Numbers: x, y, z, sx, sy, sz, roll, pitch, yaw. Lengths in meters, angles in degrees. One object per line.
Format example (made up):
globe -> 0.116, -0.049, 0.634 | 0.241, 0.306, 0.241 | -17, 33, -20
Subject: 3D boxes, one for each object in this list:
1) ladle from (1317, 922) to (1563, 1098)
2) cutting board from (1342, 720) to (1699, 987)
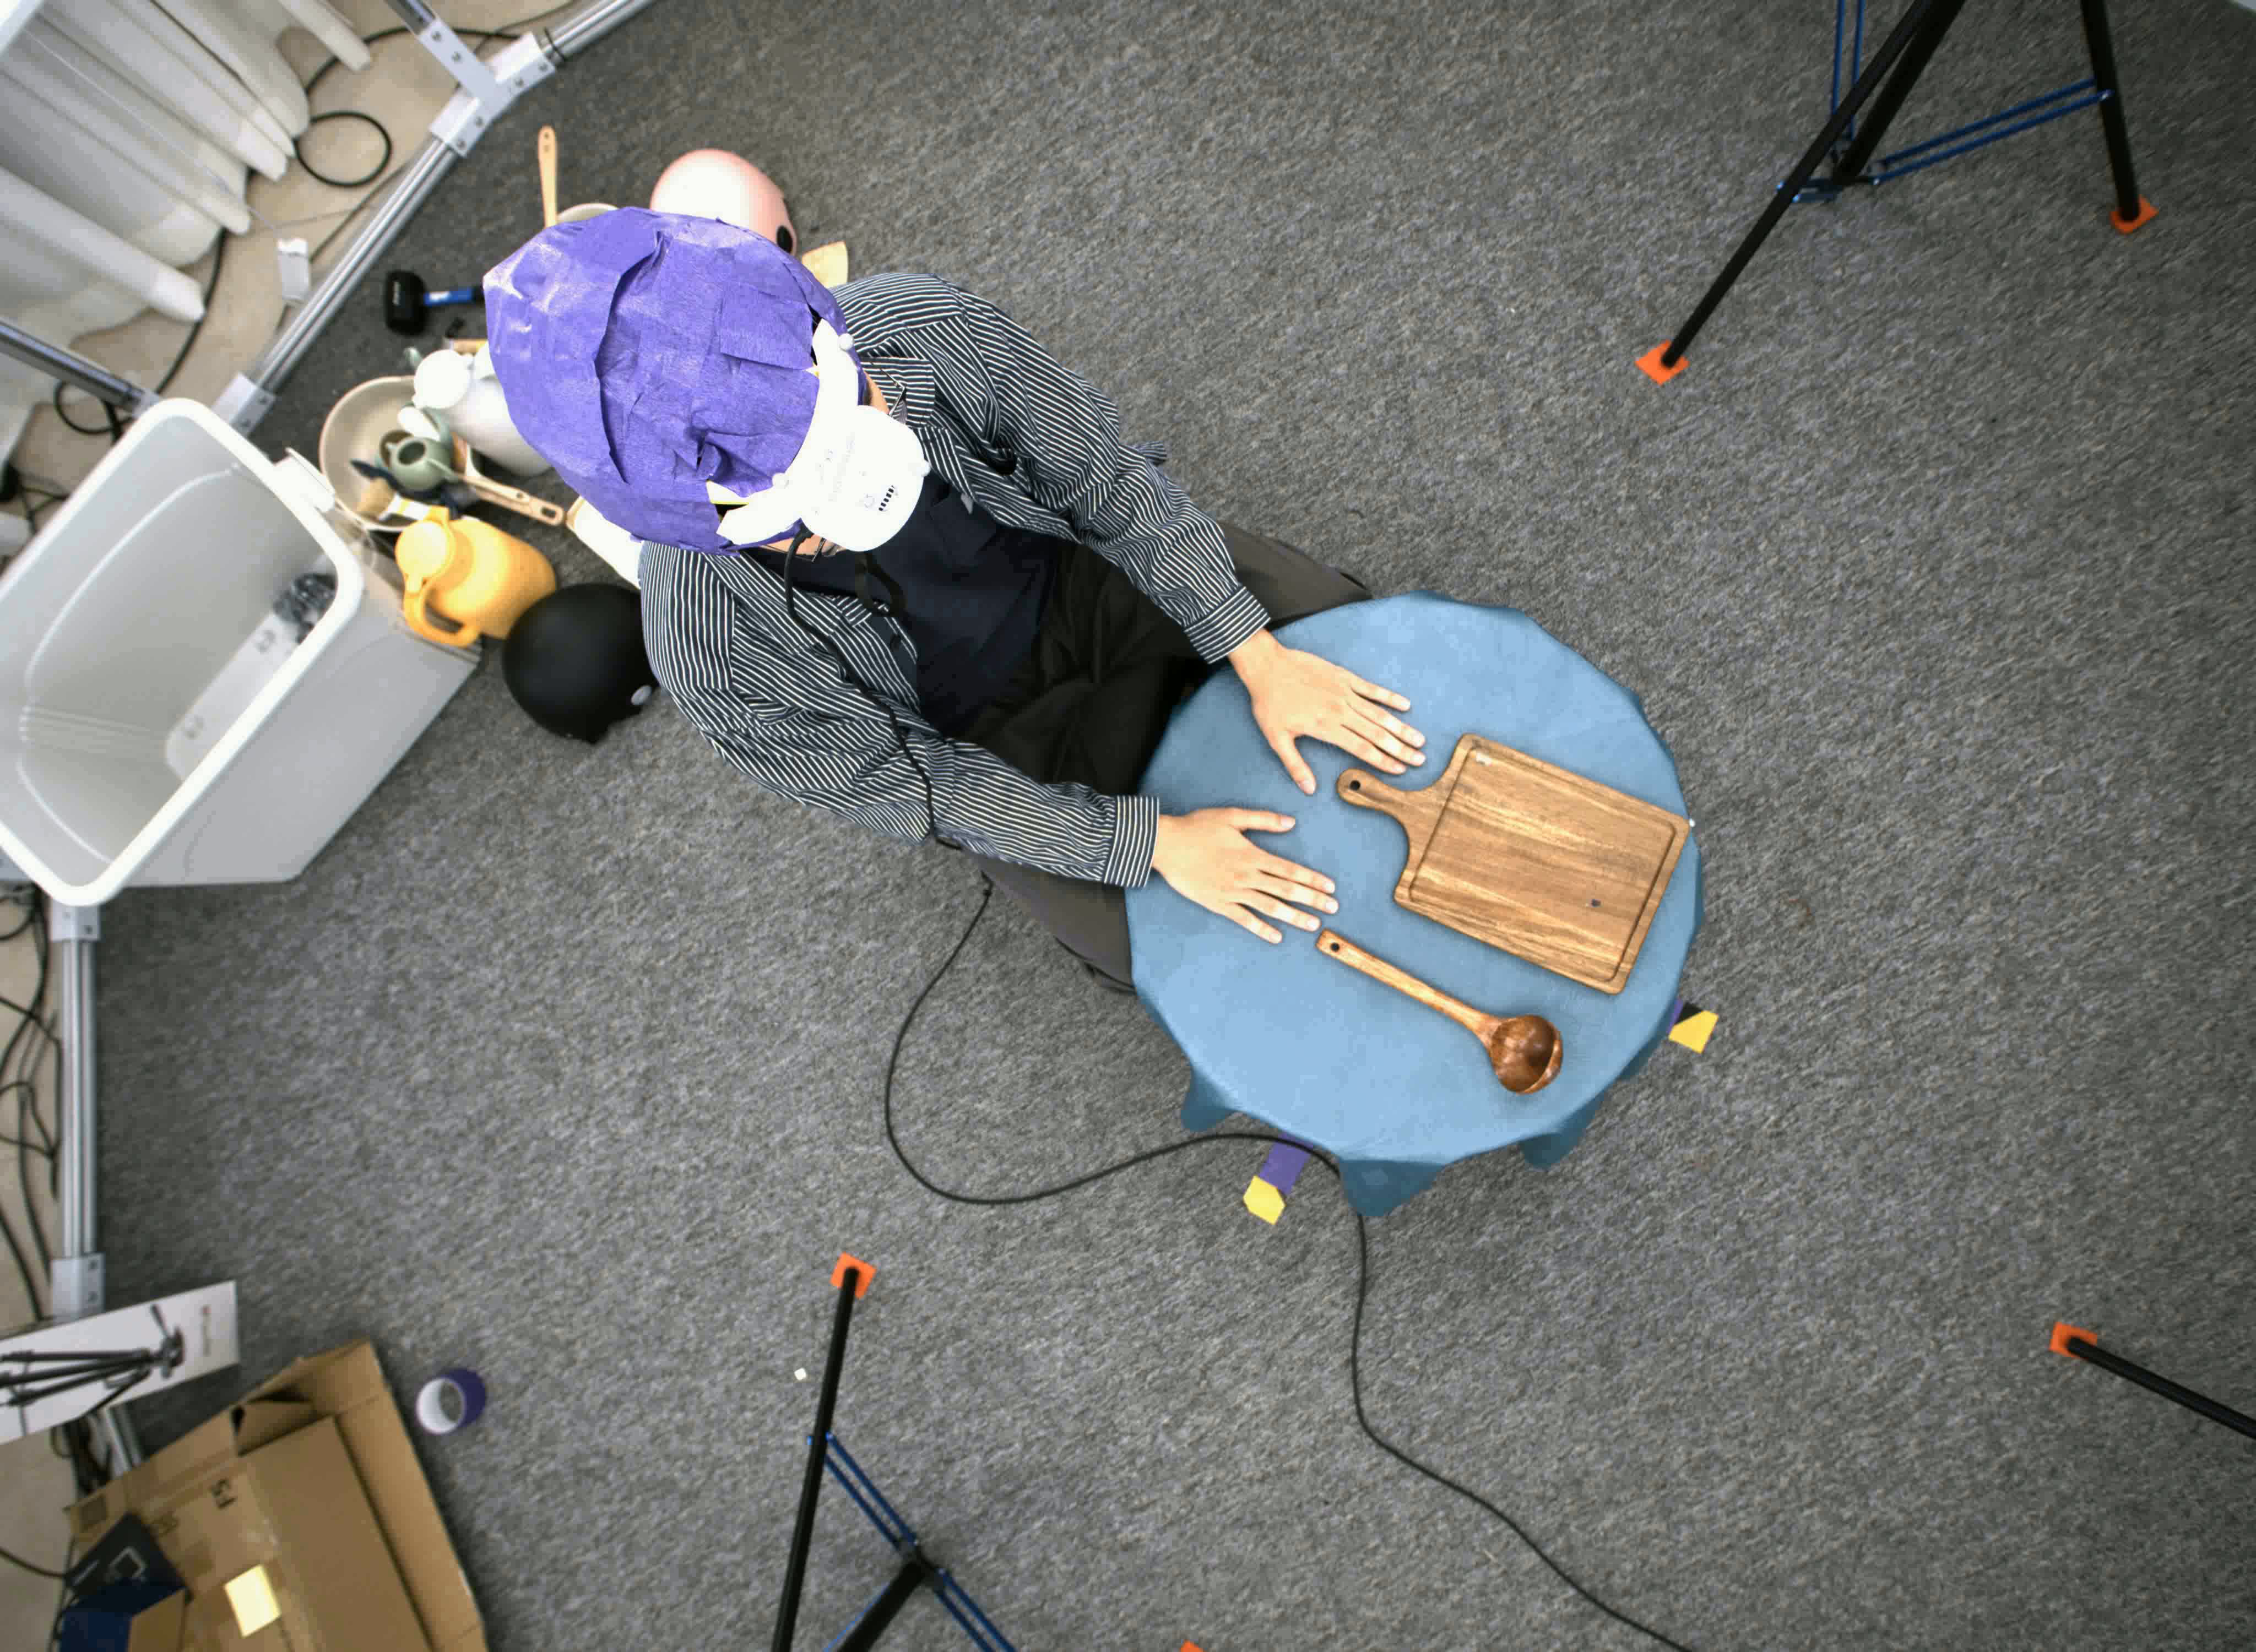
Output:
ladle -> 0.310, 0.178, 1.398 | 0.273, 0.076, 0.082 | 30, 96, 10
cutting board -> 0.386, 0.004, 1.420 | 0.352, 0.023, 0.201 | 24, 92, 10
